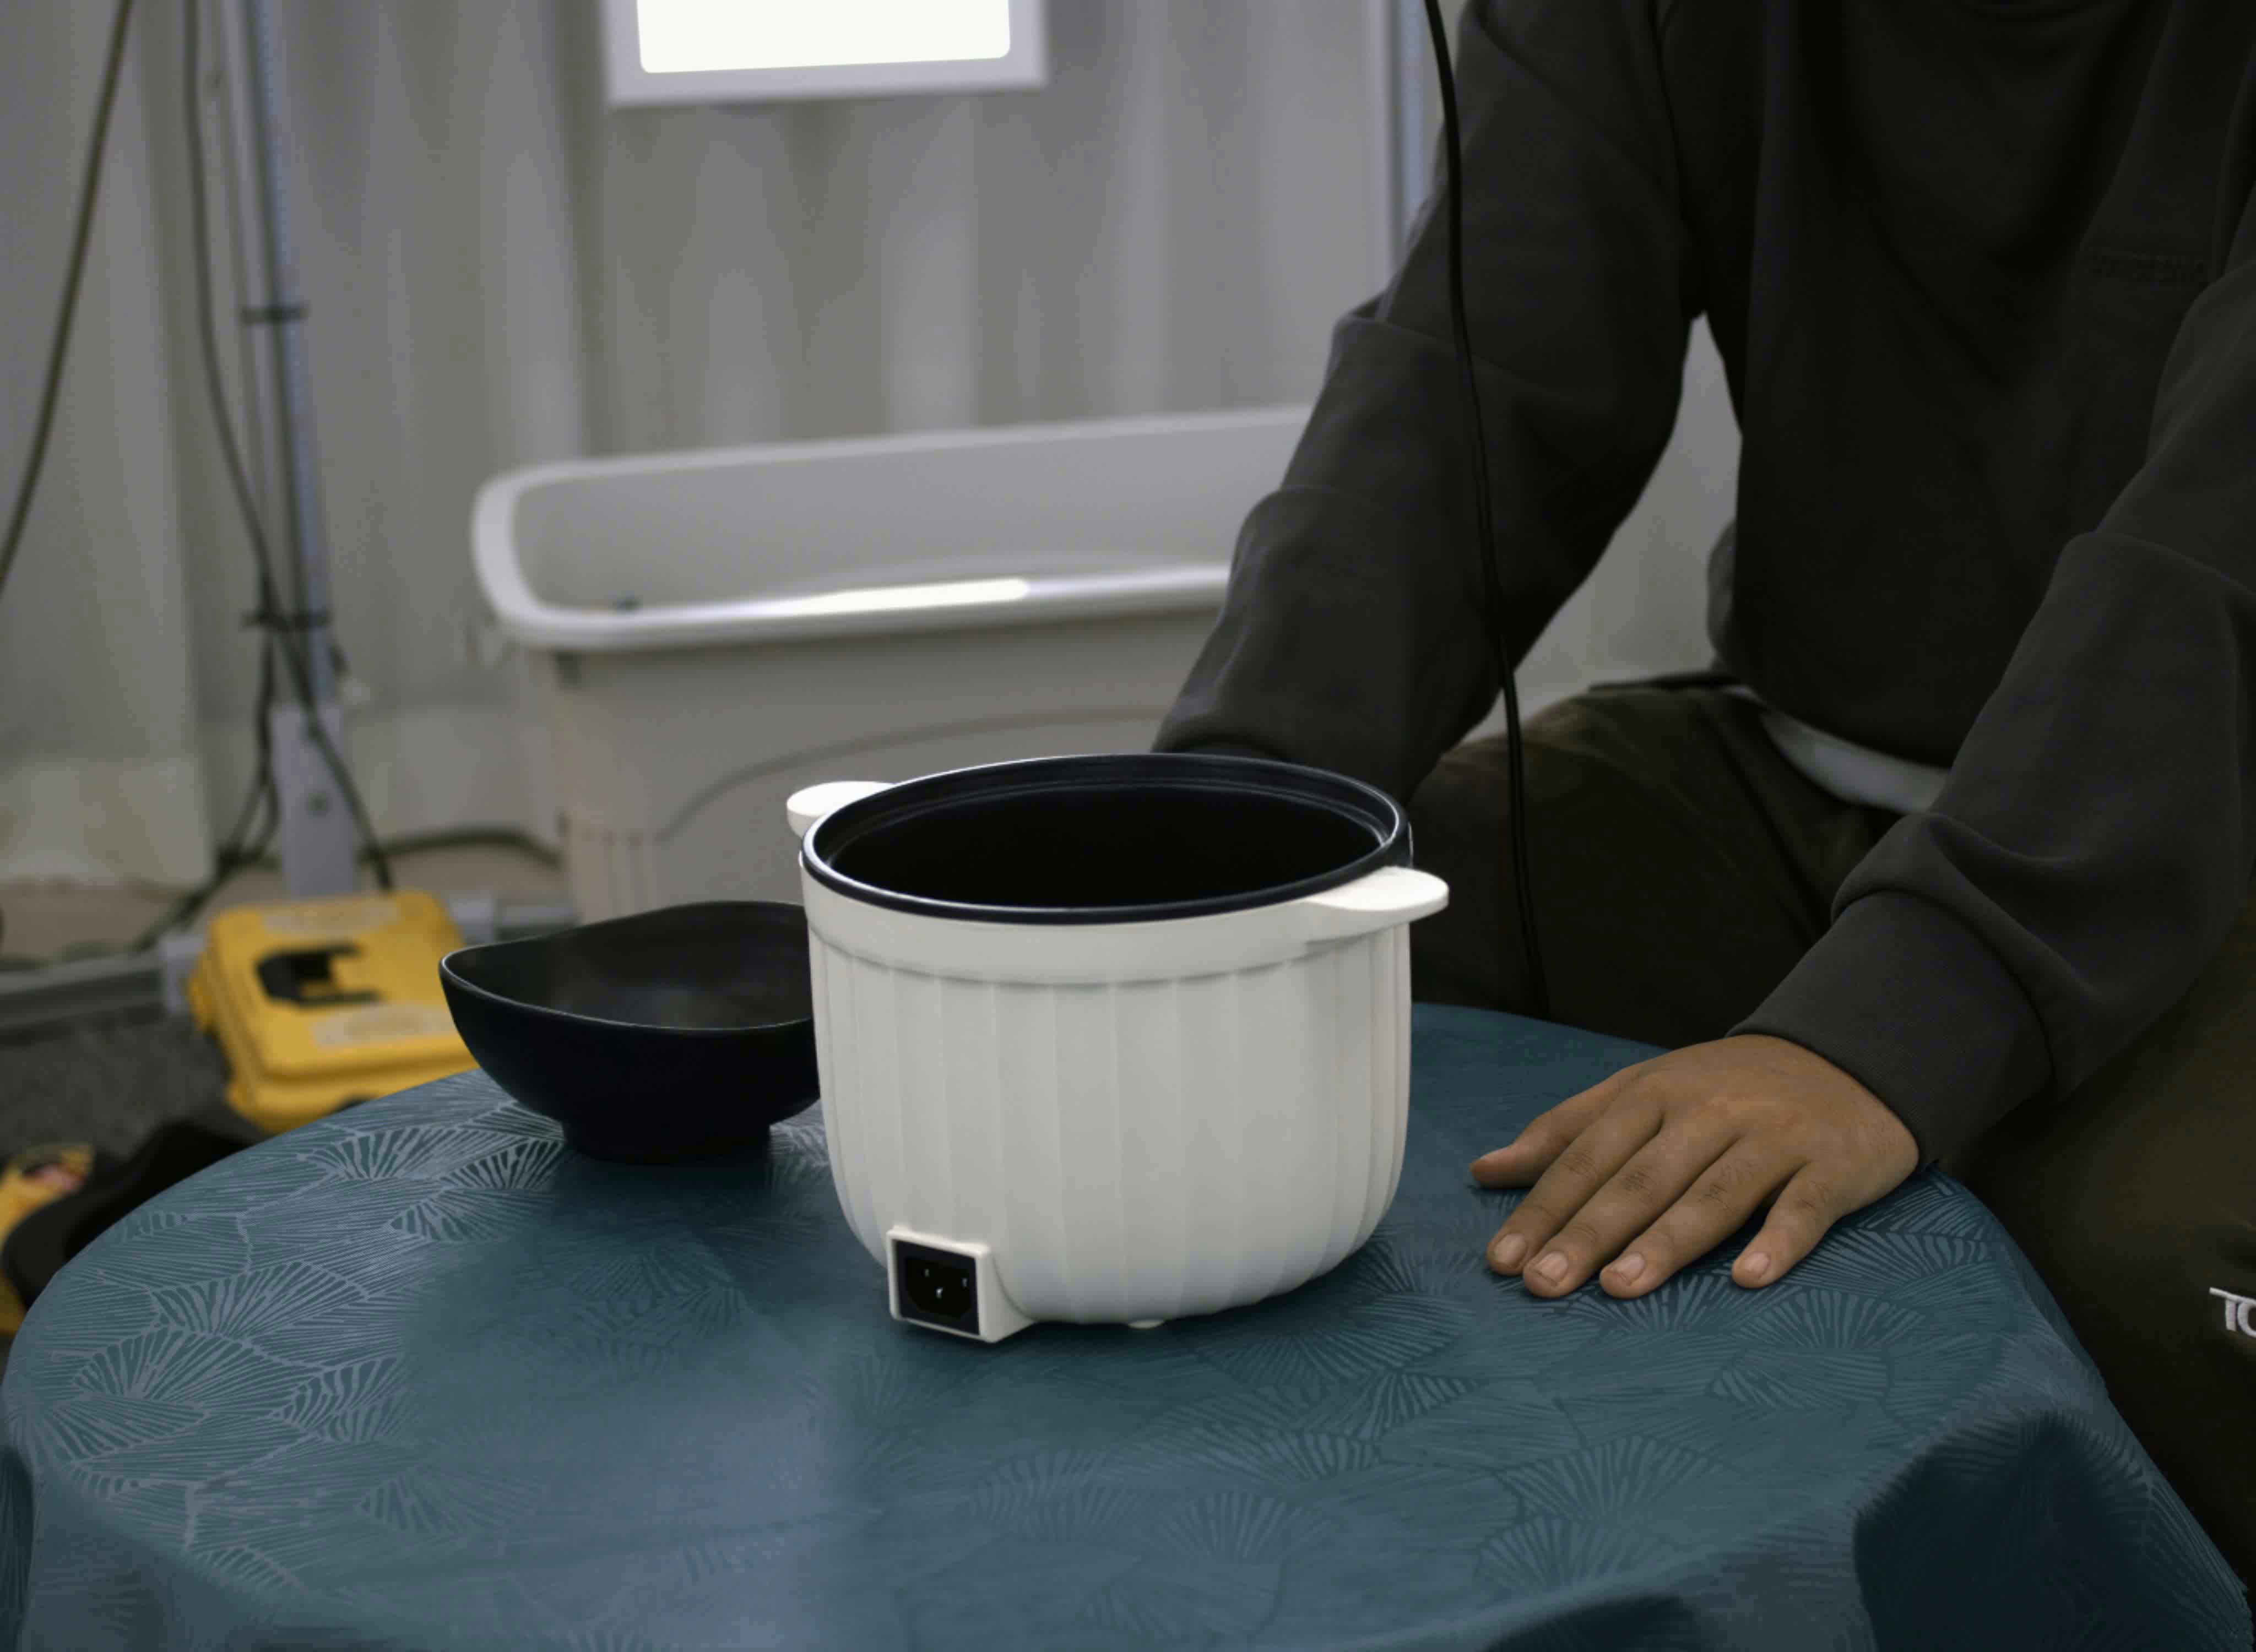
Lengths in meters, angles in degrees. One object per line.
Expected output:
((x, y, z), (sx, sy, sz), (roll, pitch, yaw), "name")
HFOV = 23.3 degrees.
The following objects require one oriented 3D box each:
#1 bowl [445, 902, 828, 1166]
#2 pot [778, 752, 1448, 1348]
((-0.151, 0.071, 1.784), (0.137, 0.066, 0.171), (-12, 16, -33), "bowl")
((-0.003, 0.064, 1.643), (0.241, 0.142, 0.190), (10, 22, 36), "pot")
